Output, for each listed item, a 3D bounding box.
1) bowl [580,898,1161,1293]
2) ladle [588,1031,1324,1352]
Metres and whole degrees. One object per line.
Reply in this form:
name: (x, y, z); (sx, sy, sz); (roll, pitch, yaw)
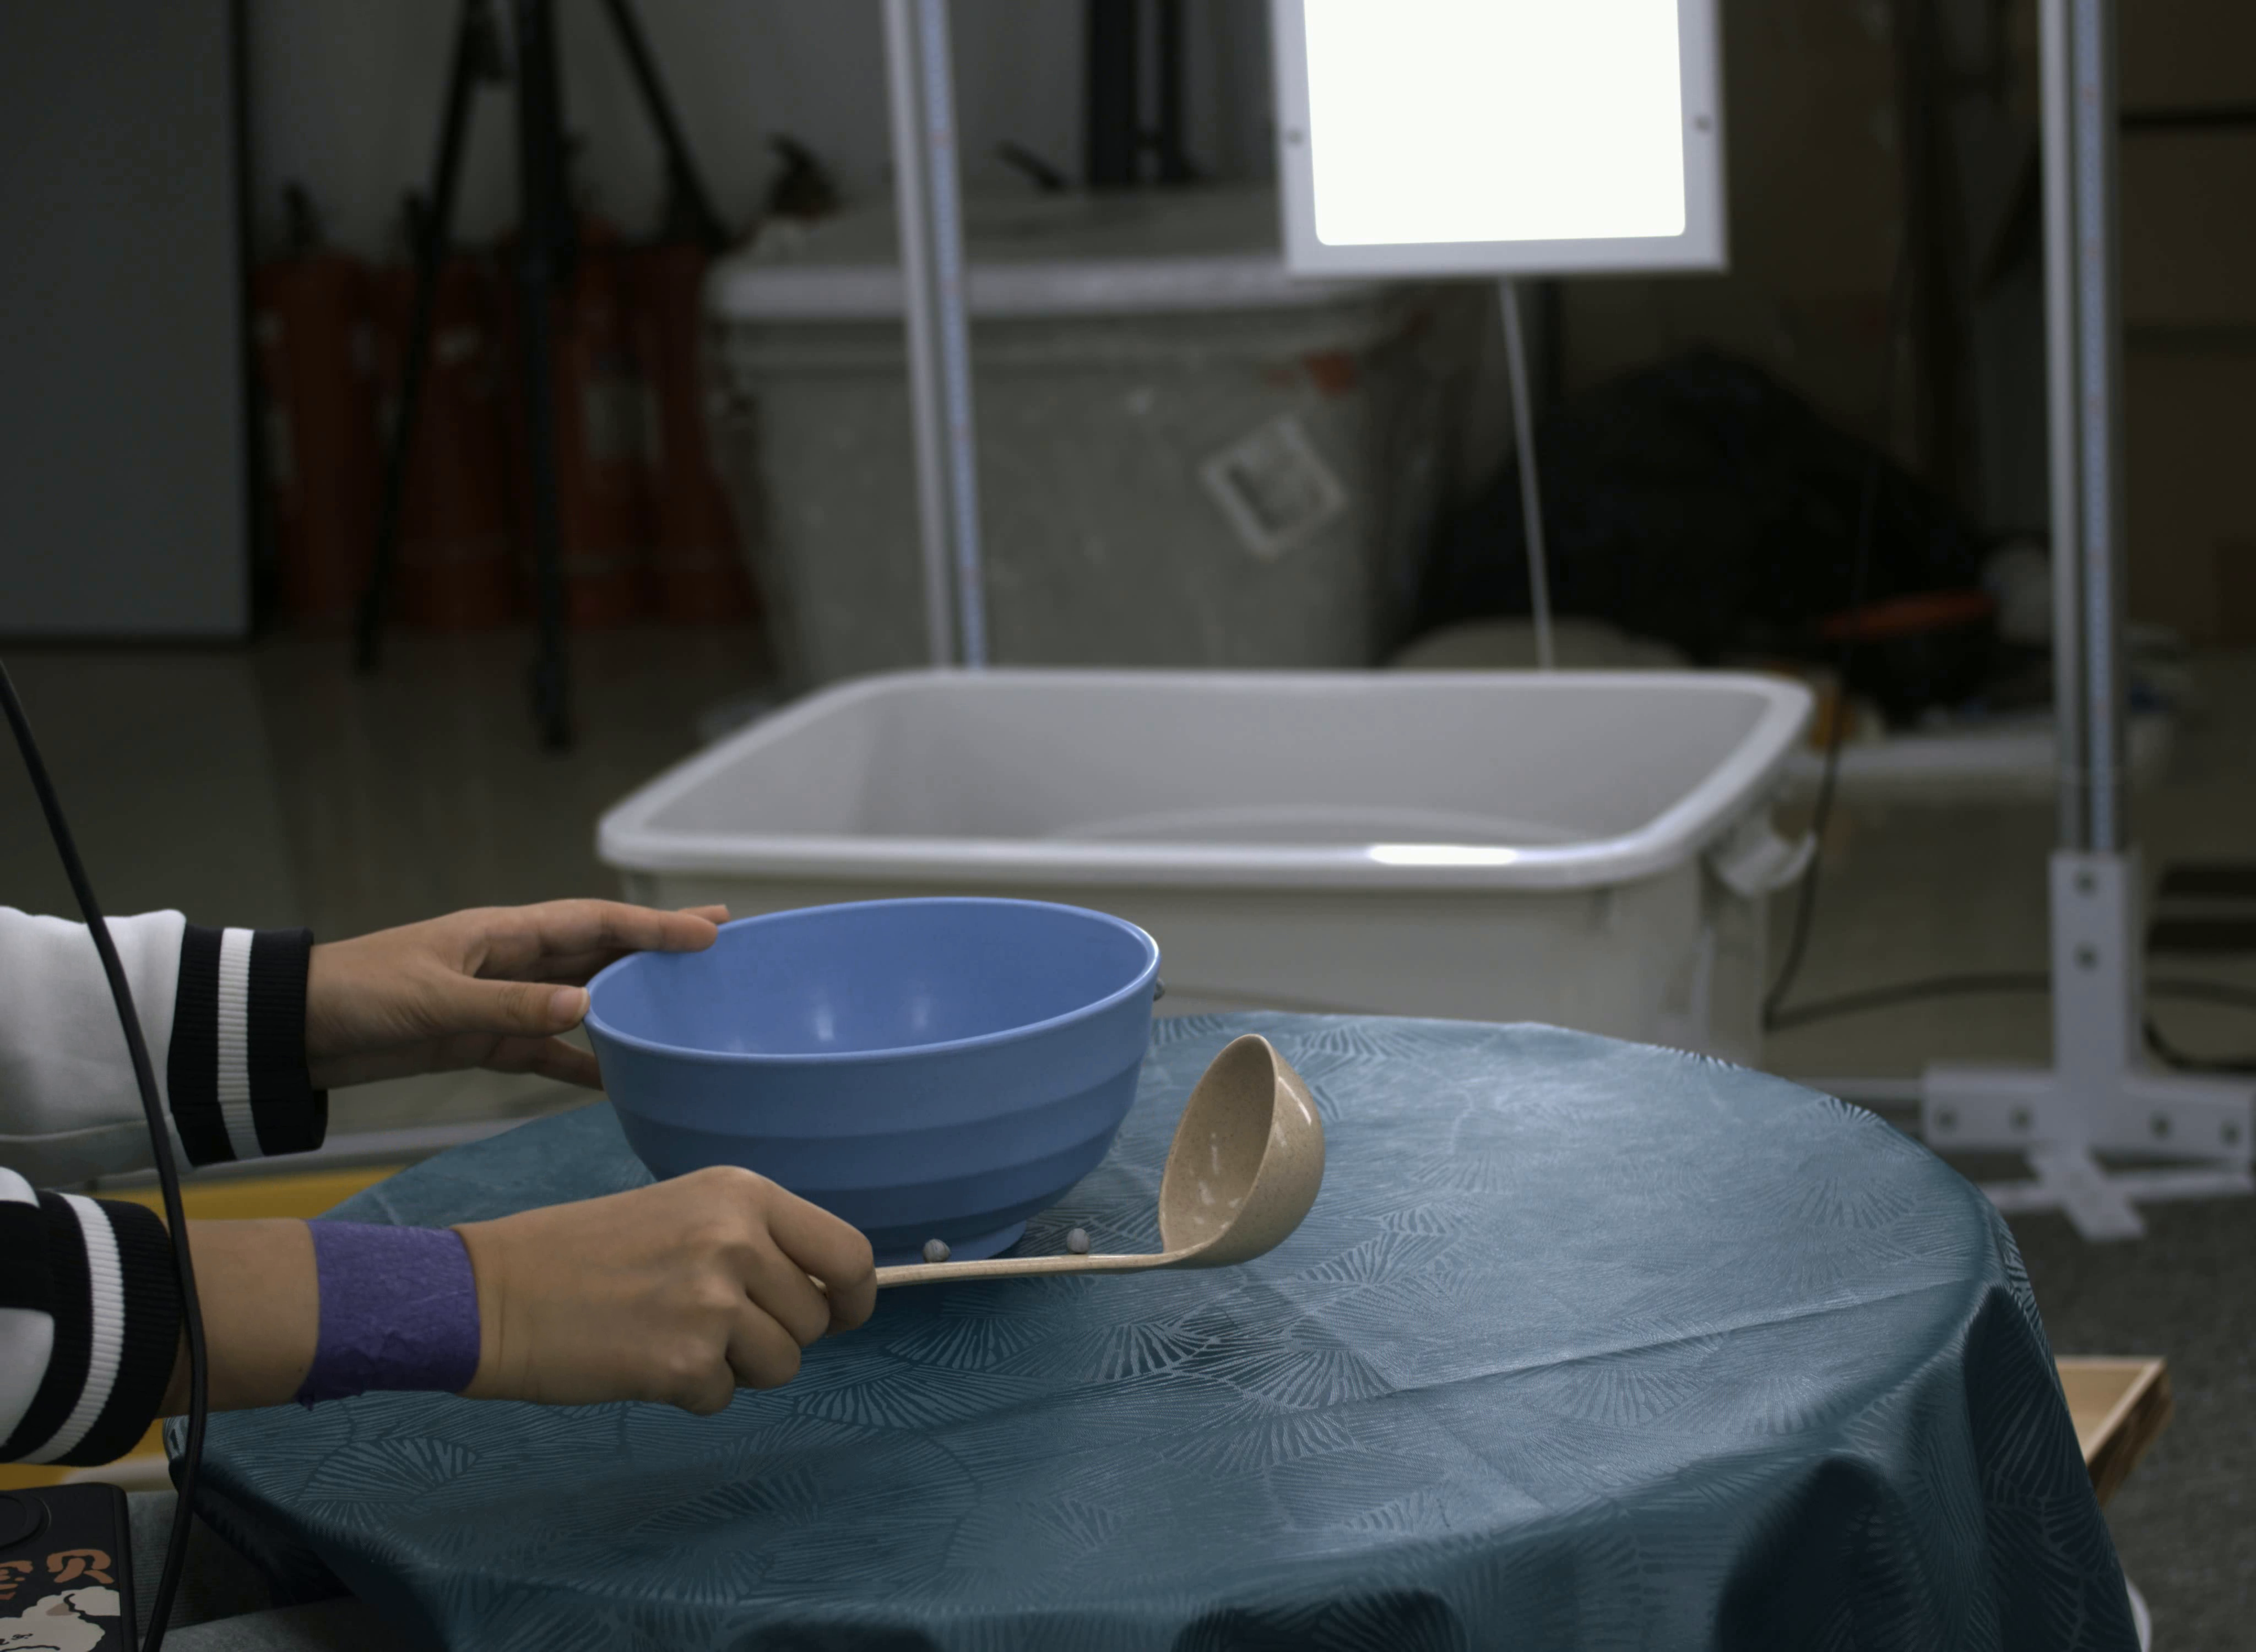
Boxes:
bowl: (-0.083, 0.097, 1.862); (0.196, 0.096, 0.196); (-5, 15, 0)
ladle: (-0.055, 0.109, 1.681); (0.248, 0.073, 0.073); (-5, -10, -29)
